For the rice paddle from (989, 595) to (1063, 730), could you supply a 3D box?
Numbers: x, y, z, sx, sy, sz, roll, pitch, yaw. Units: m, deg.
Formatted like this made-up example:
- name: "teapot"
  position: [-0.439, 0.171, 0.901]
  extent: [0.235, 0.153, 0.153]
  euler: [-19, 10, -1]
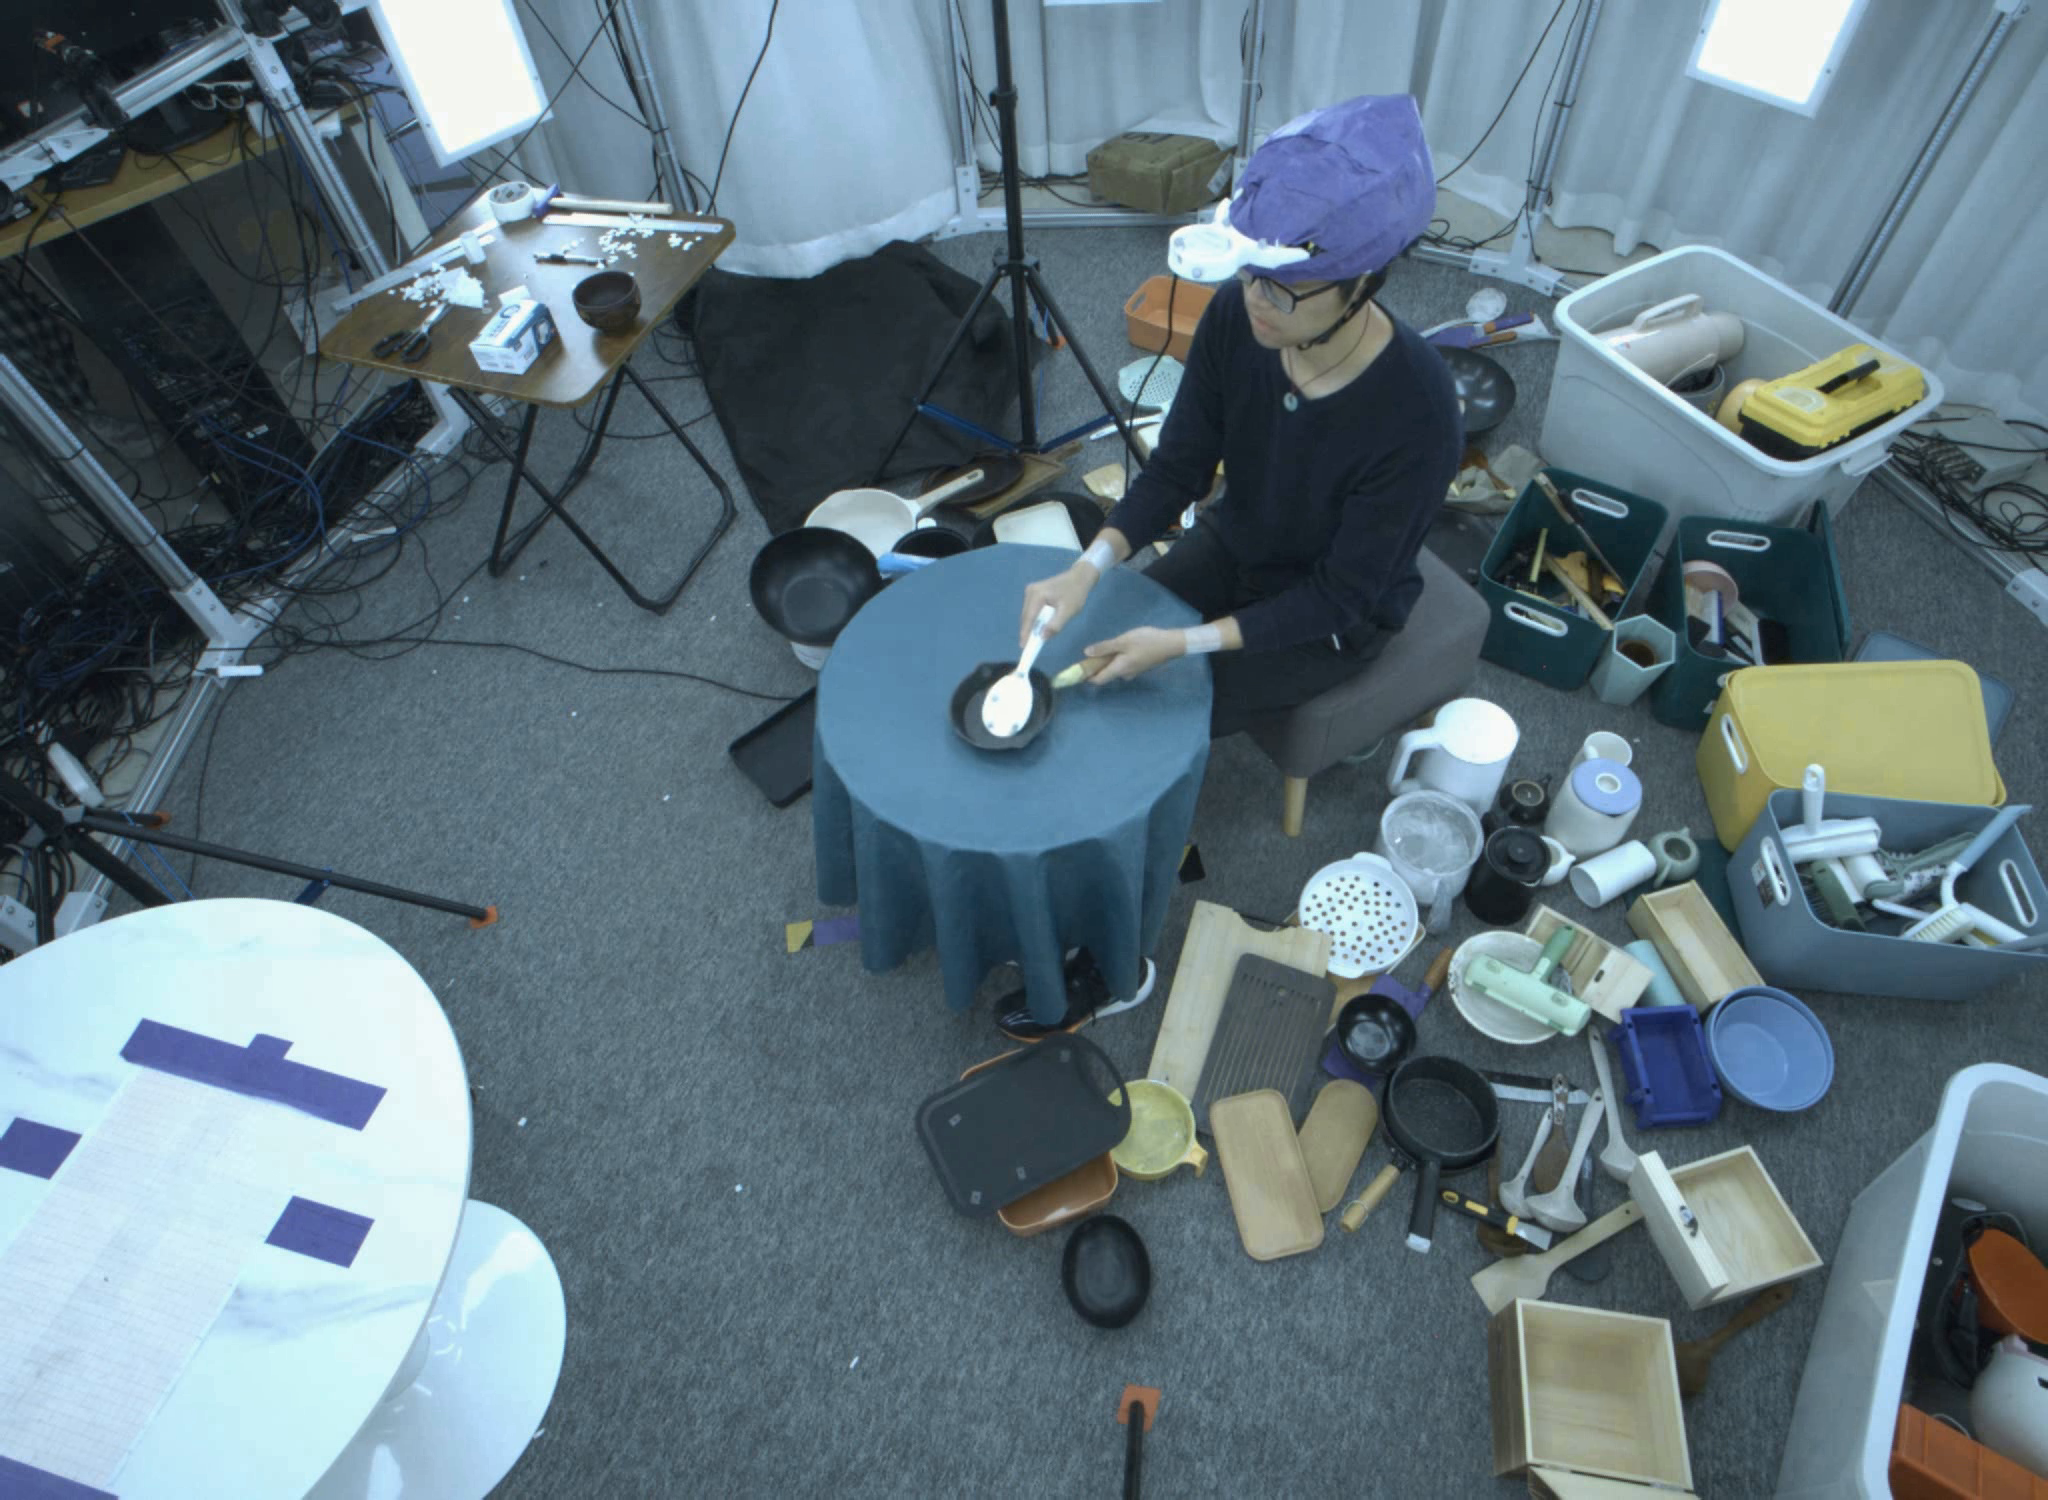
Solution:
- name: "rice paddle"
  position: [0.006, -0.125, 1.792]
  extent: [0.068, 0.029, 0.205]
  euler: [22, 93, 8]

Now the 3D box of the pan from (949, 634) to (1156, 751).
- name: "pan"
  position: [0.047, -0.096, 1.804]
  extent: [0.325, 0.050, 0.166]
  euler: [-22, 57, -4]
